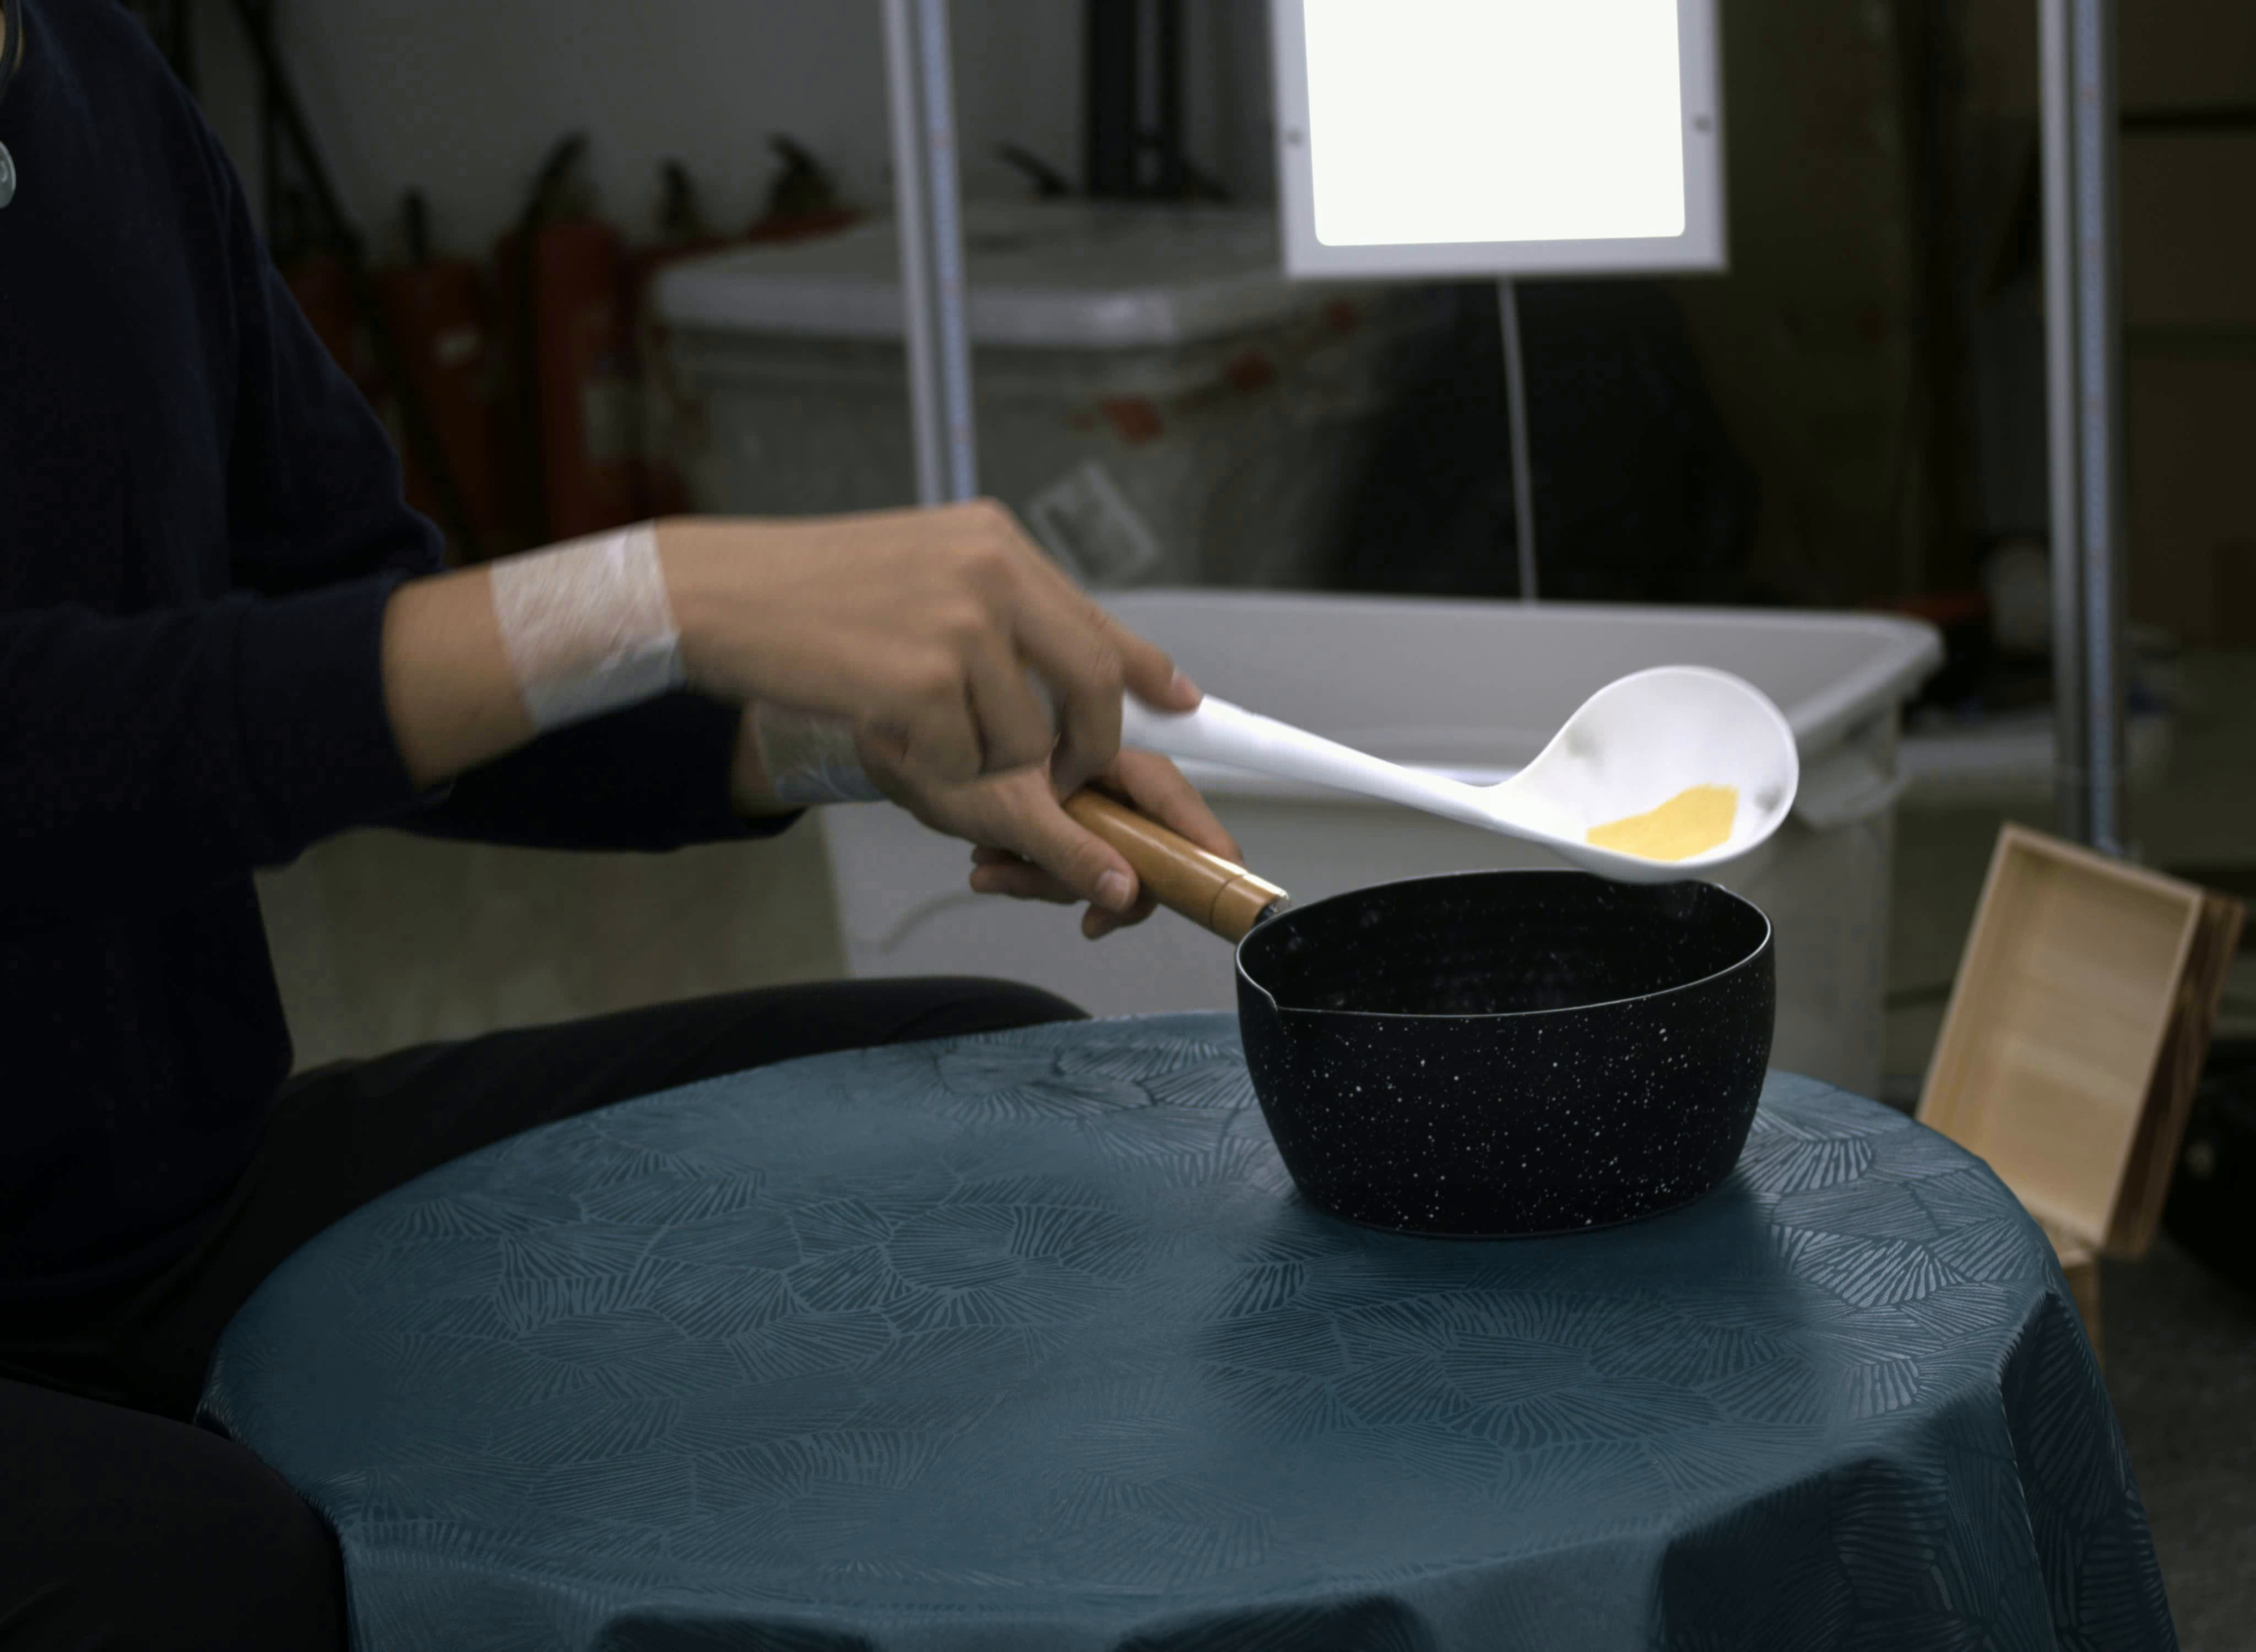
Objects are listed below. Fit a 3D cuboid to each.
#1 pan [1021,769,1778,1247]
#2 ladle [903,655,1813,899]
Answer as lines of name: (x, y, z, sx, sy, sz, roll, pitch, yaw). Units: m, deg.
pan: (0.078, 0.056, 1.929, 0.202, 0.108, 0.350, -17, 20, -37)
ladle: (0.075, -0.027, 1.716, 0.287, 0.071, 0.090, 9, 47, -23)
